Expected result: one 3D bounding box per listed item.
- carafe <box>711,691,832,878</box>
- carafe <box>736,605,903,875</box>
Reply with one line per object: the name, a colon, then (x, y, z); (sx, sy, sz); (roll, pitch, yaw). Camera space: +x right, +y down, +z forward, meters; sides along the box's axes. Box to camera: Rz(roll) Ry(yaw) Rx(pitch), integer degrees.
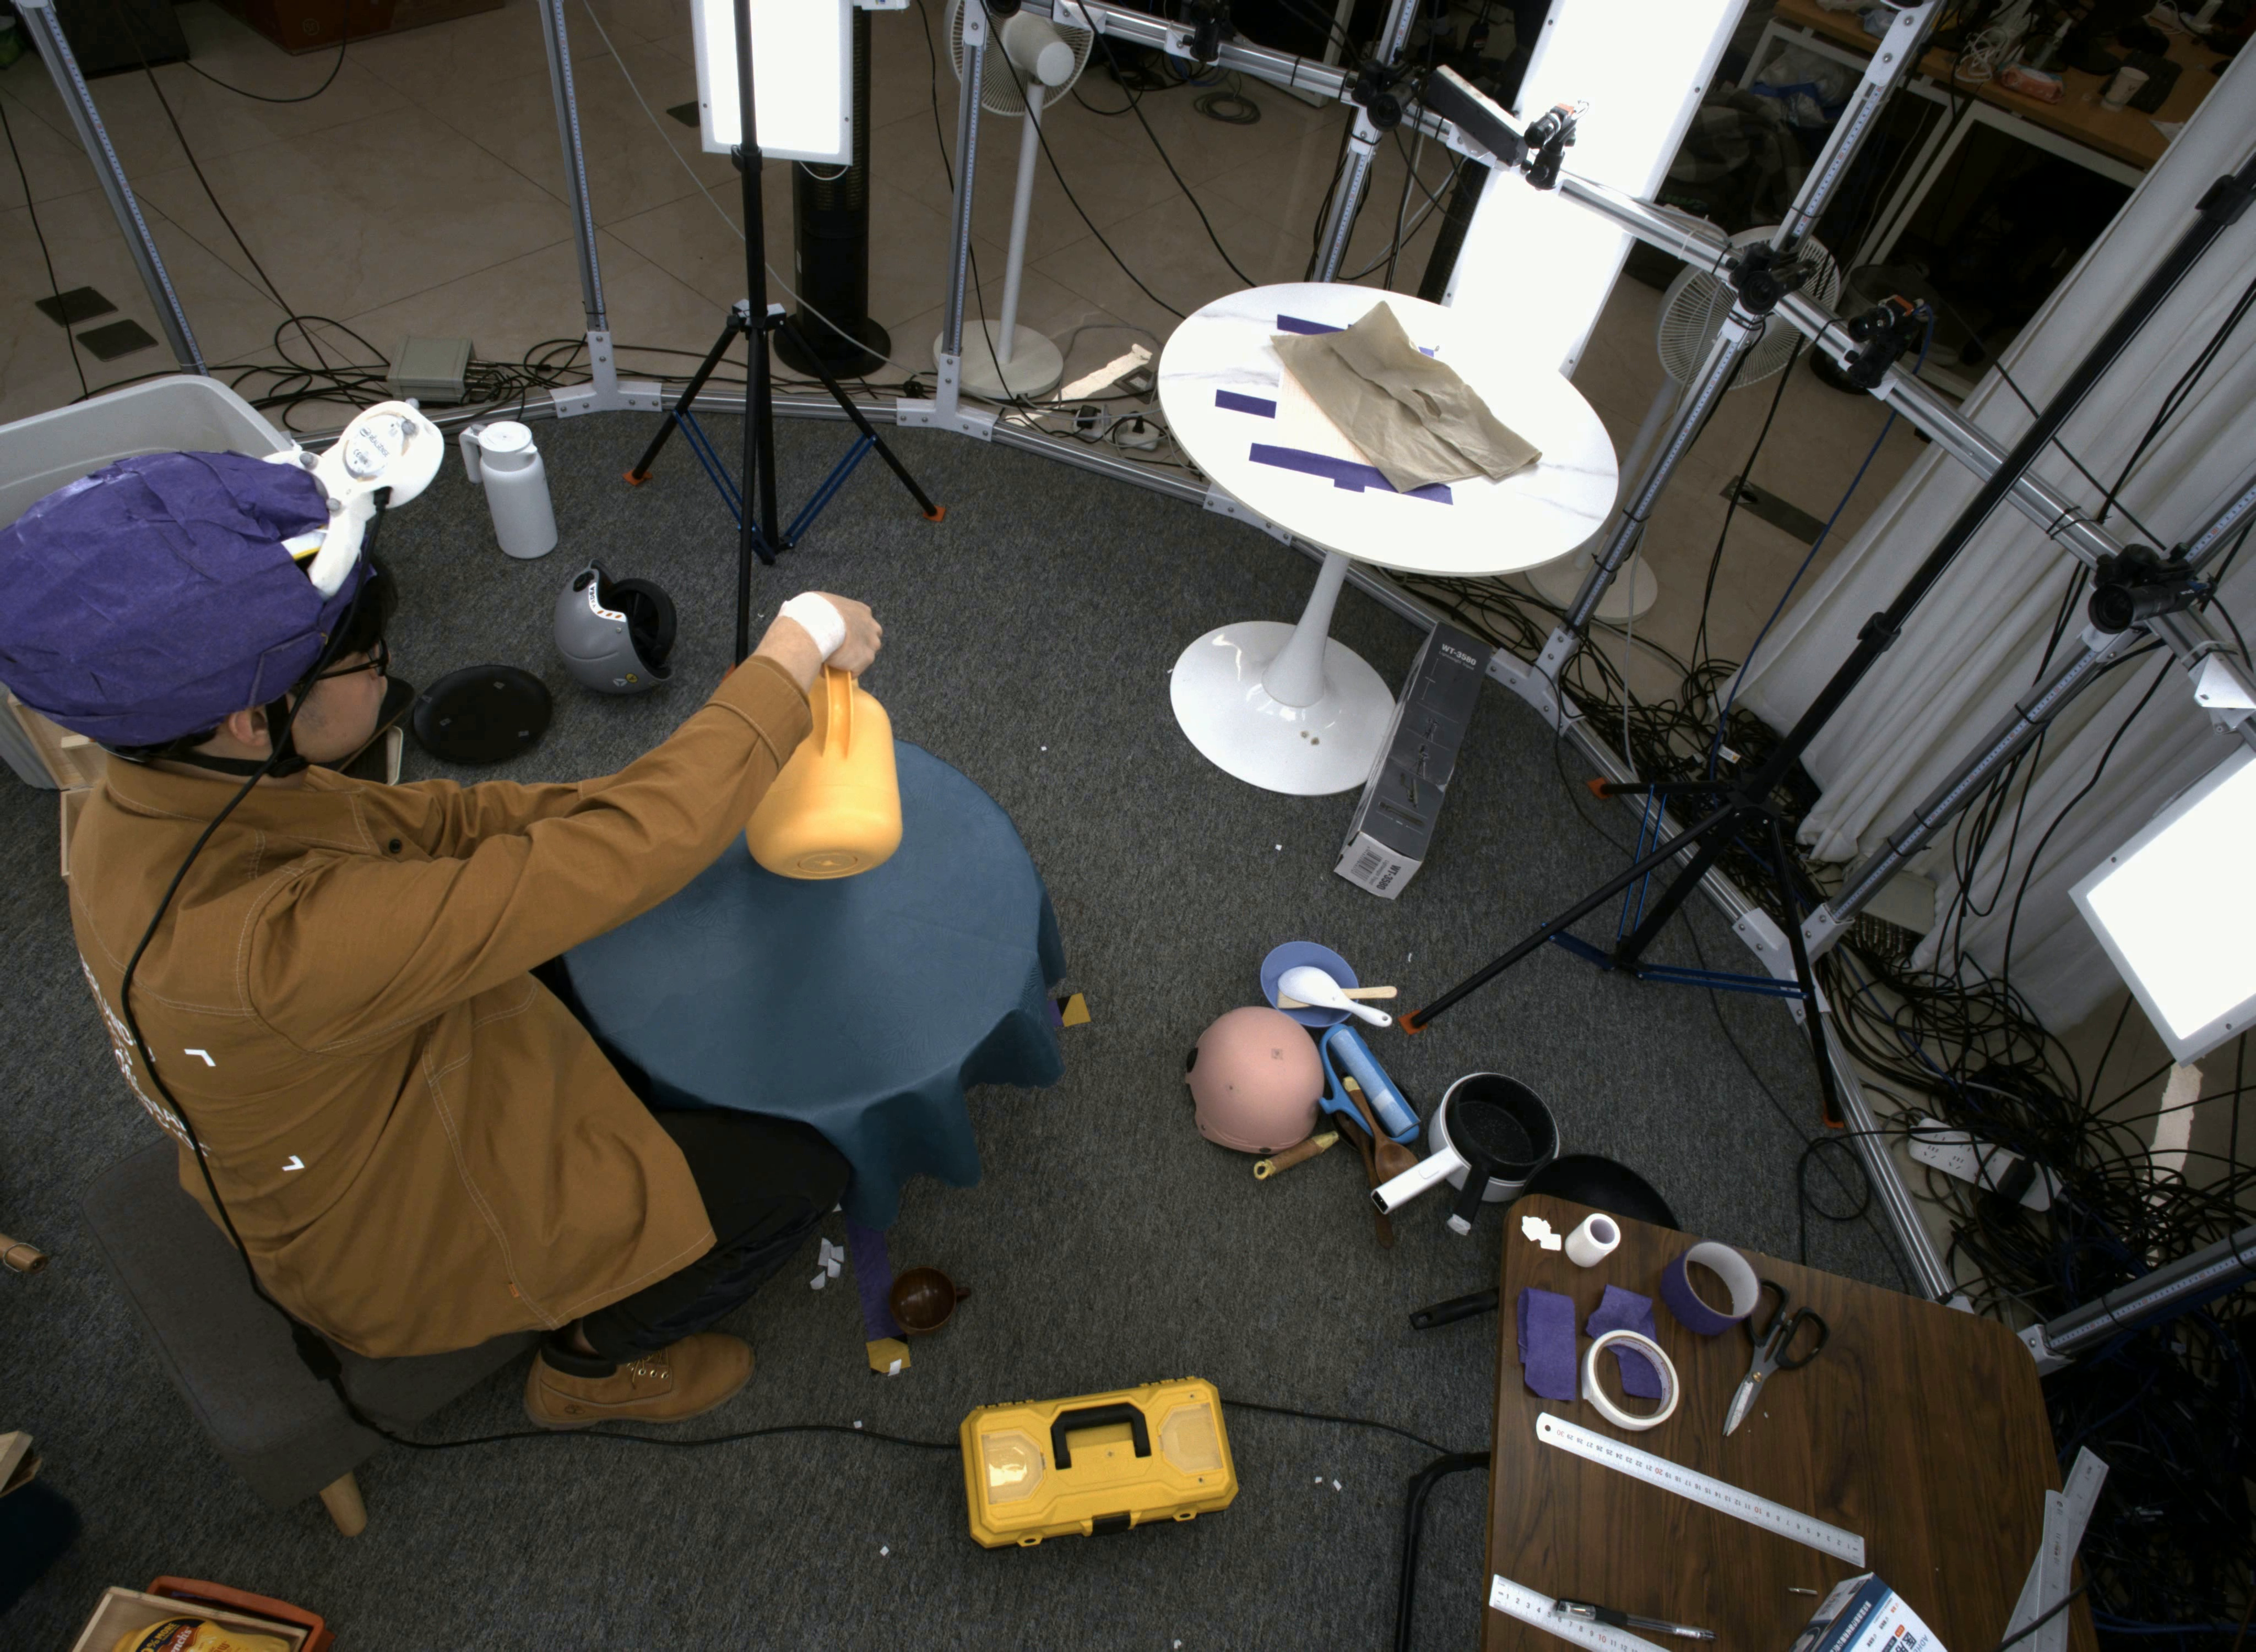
carafe: (-0.429, -0.064, 1.607); (0.167, 0.254, 0.130); (1, 52, -11)
carafe: (-0.329, -0.097, 1.361); (0.165, 0.202, 0.258); (-5, 72, -23)
